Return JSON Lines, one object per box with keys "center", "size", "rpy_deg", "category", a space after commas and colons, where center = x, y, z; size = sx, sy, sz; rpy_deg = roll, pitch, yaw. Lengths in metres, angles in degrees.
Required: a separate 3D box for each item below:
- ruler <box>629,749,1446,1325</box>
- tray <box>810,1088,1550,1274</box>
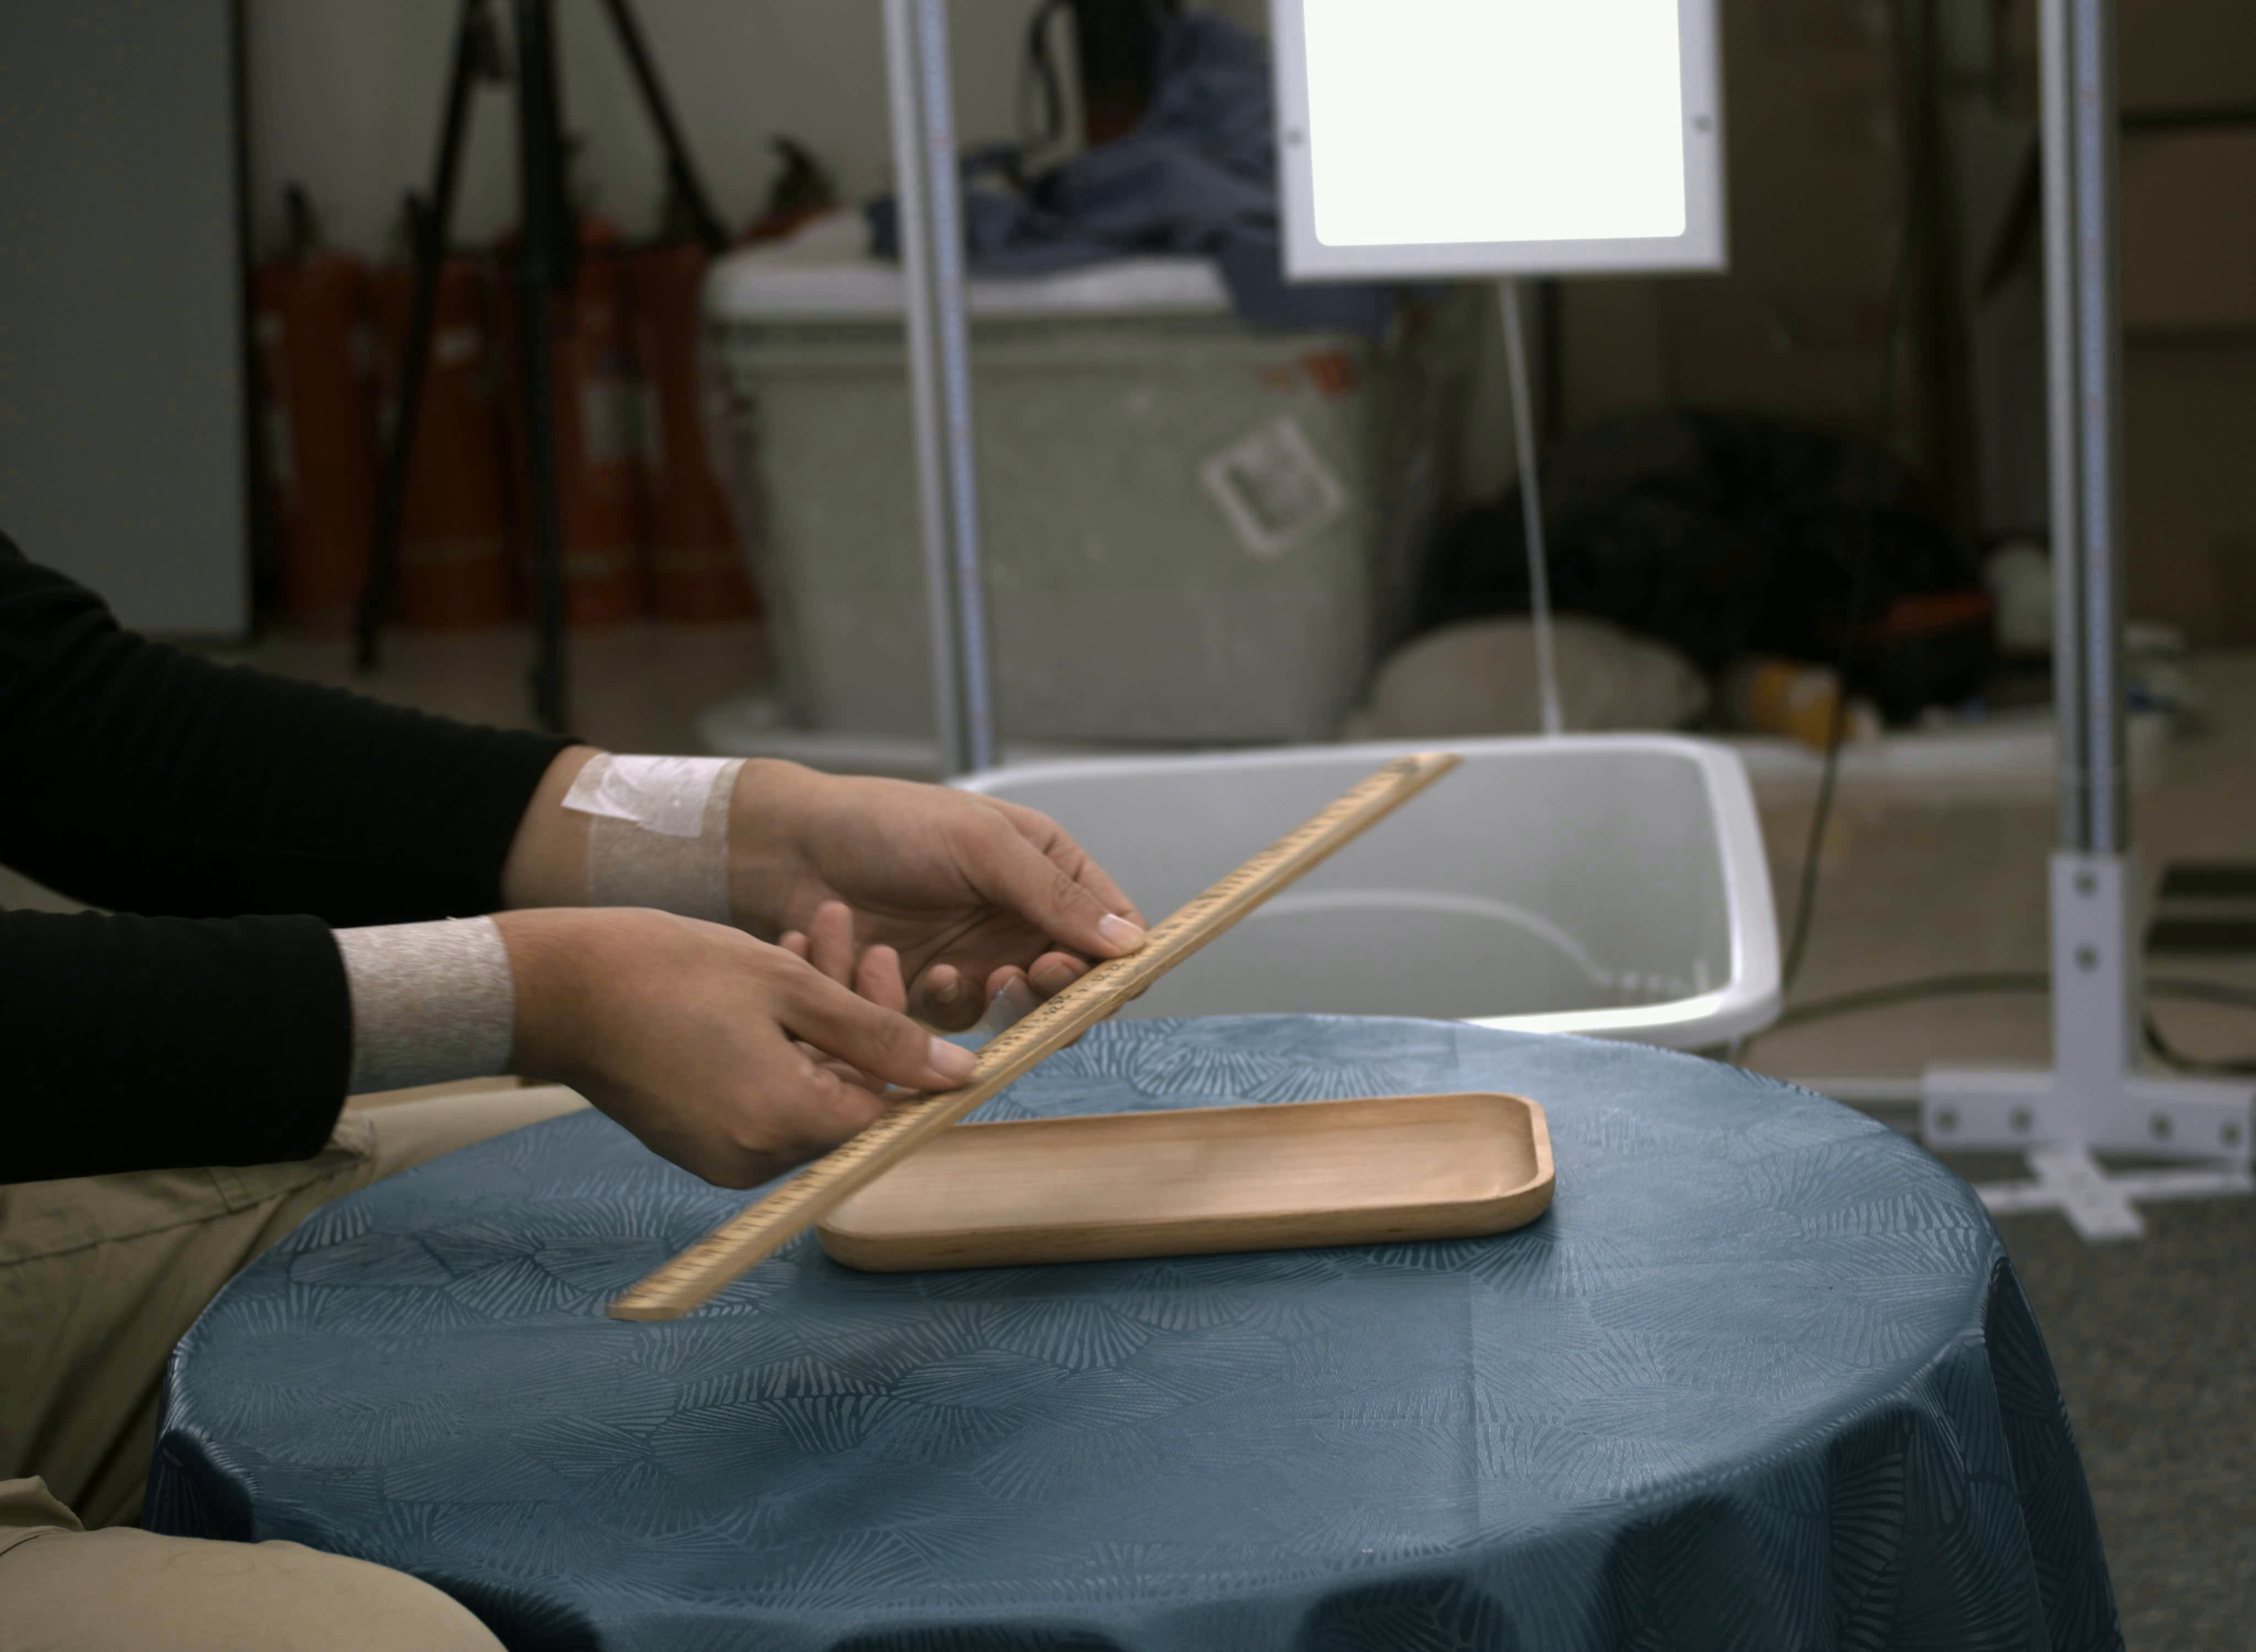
{"center": [-0.016, 0.058, 1.787], "size": [0.027, 0.006, 0.489], "rpy_deg": [-7, 16, 34], "category": "ruler"}
{"center": [0.019, 0.121, 1.880], "size": [0.251, 0.023, 0.130], "rpy_deg": [-5, 12, 6], "category": "tray"}
